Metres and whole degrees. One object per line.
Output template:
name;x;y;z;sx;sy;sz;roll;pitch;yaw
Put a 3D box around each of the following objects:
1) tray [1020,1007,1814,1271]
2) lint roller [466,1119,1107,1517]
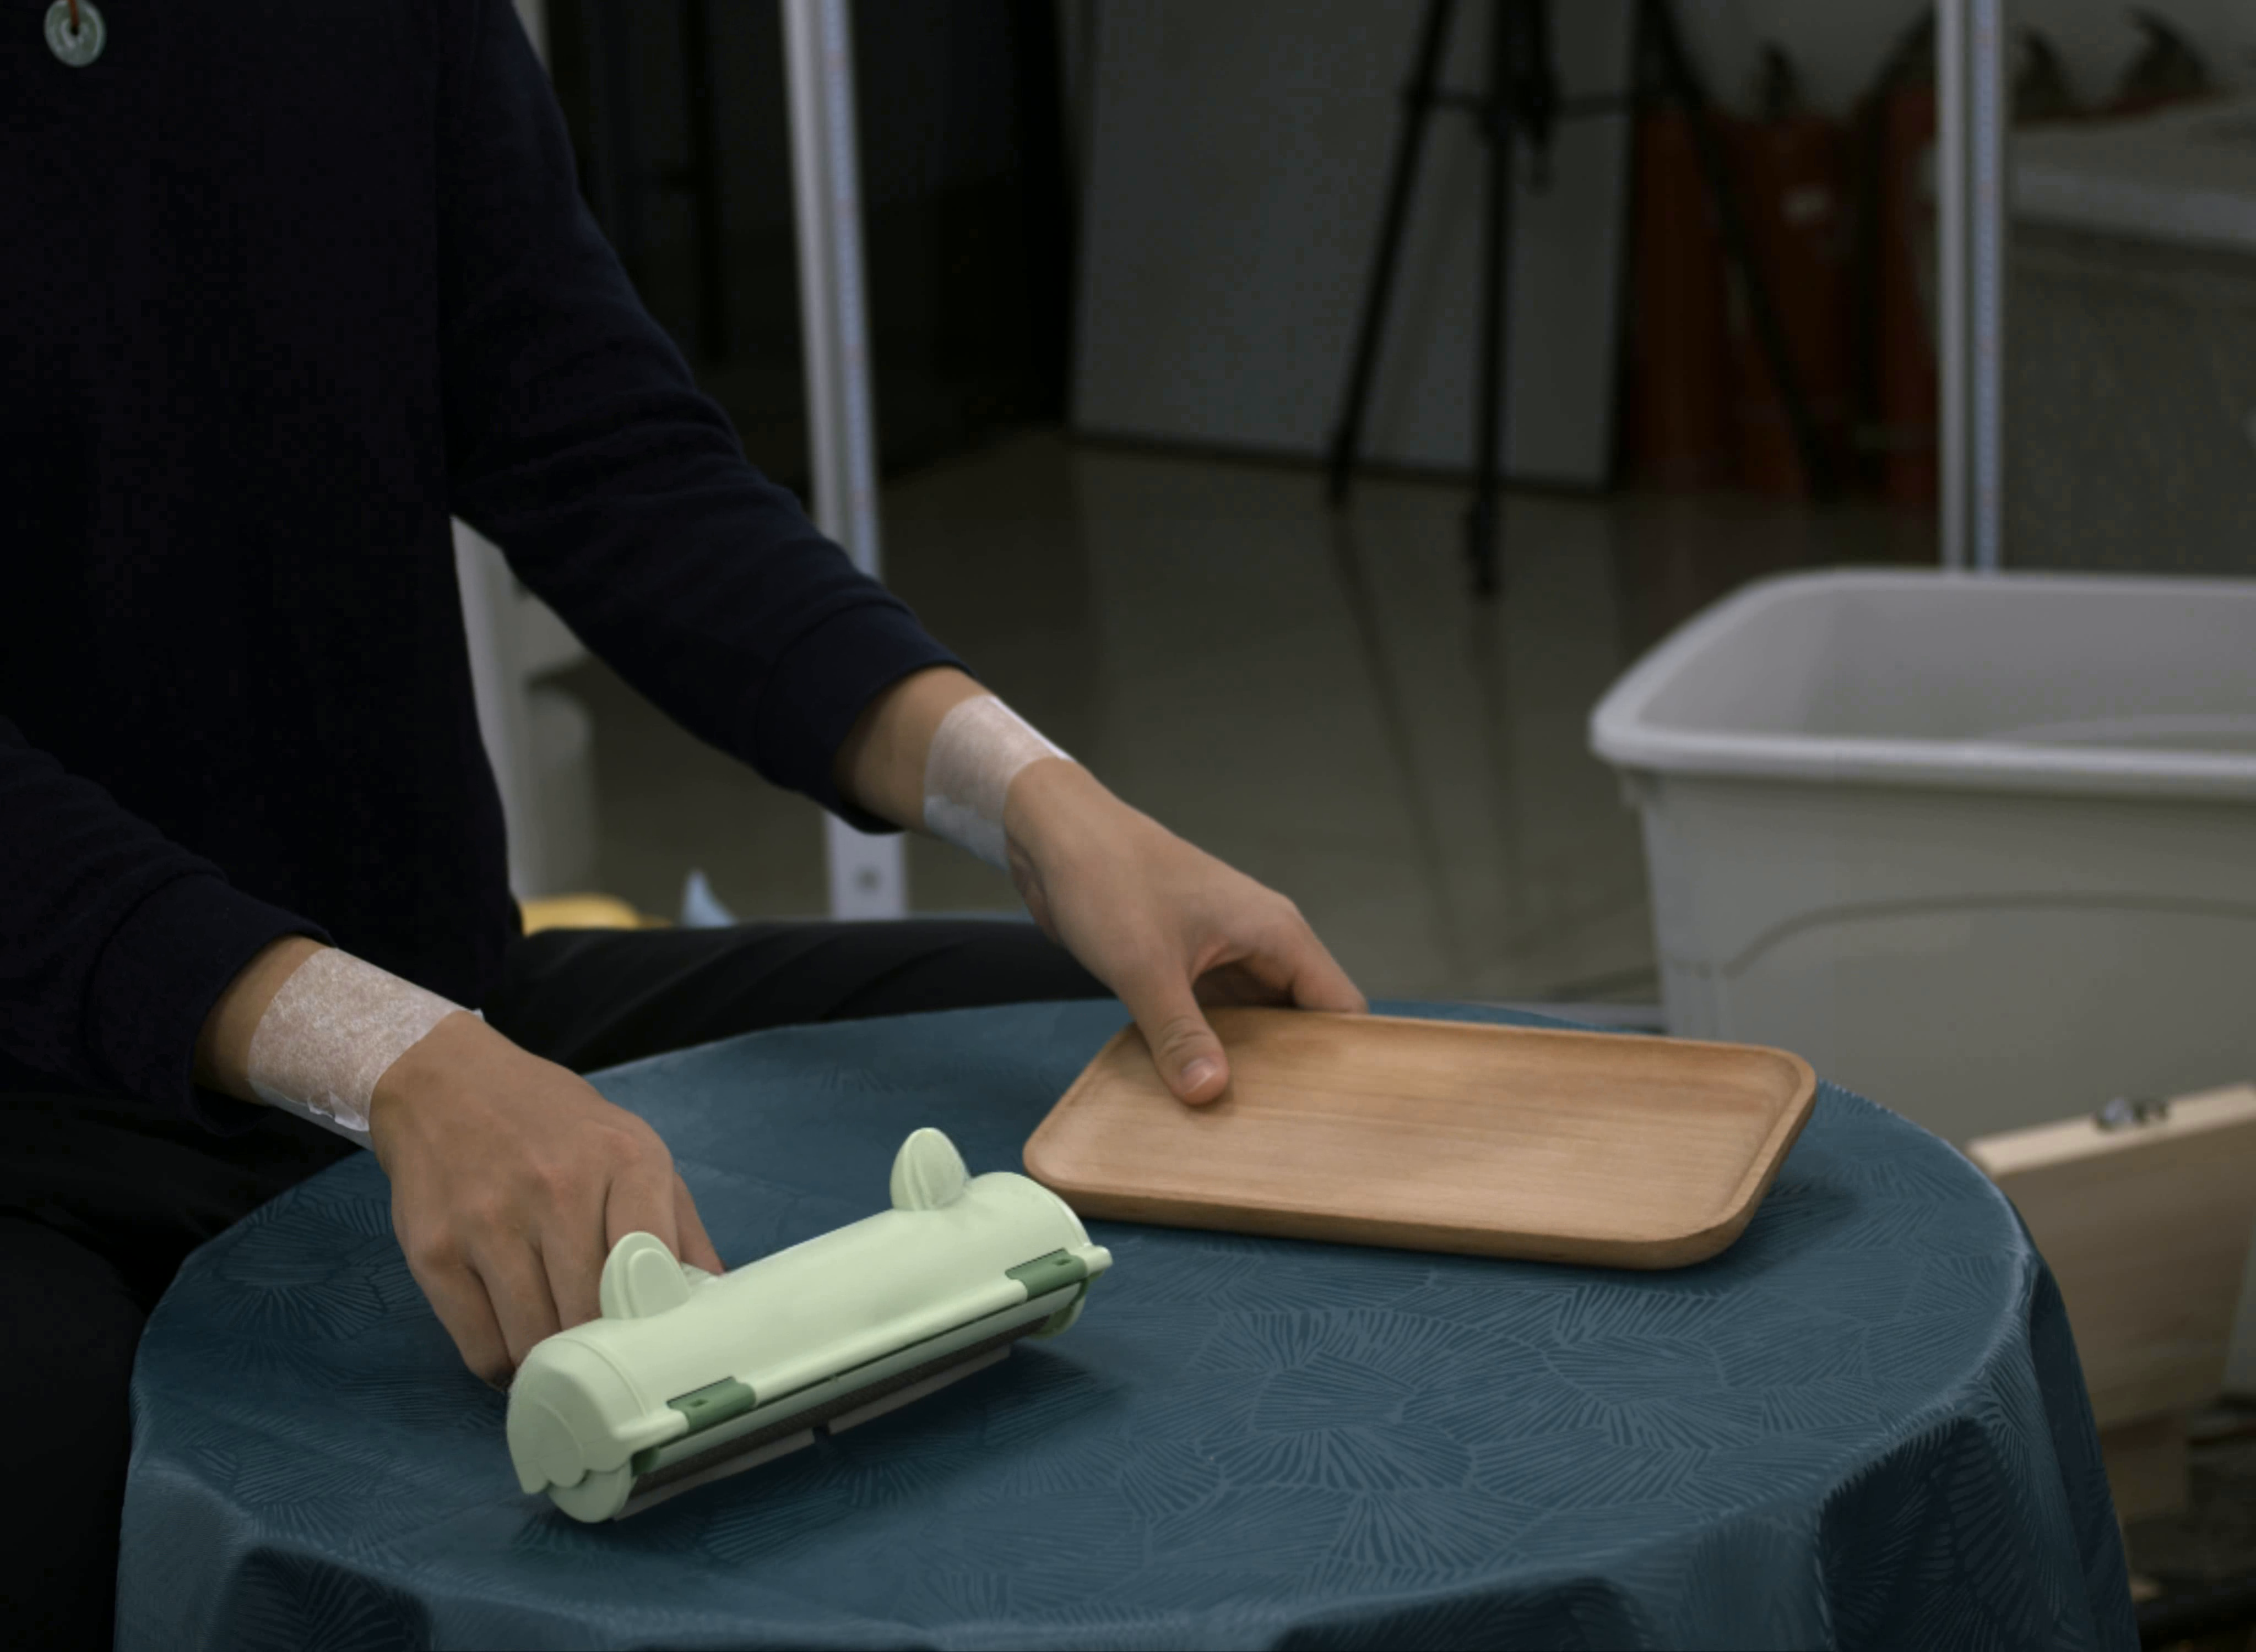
tray;0.093;0.100;1.745;0.251;0.023;0.129;2;25;27
lint roller;-0.133;0.126;1.595;0.185;0.083;0.194;20;25;40
